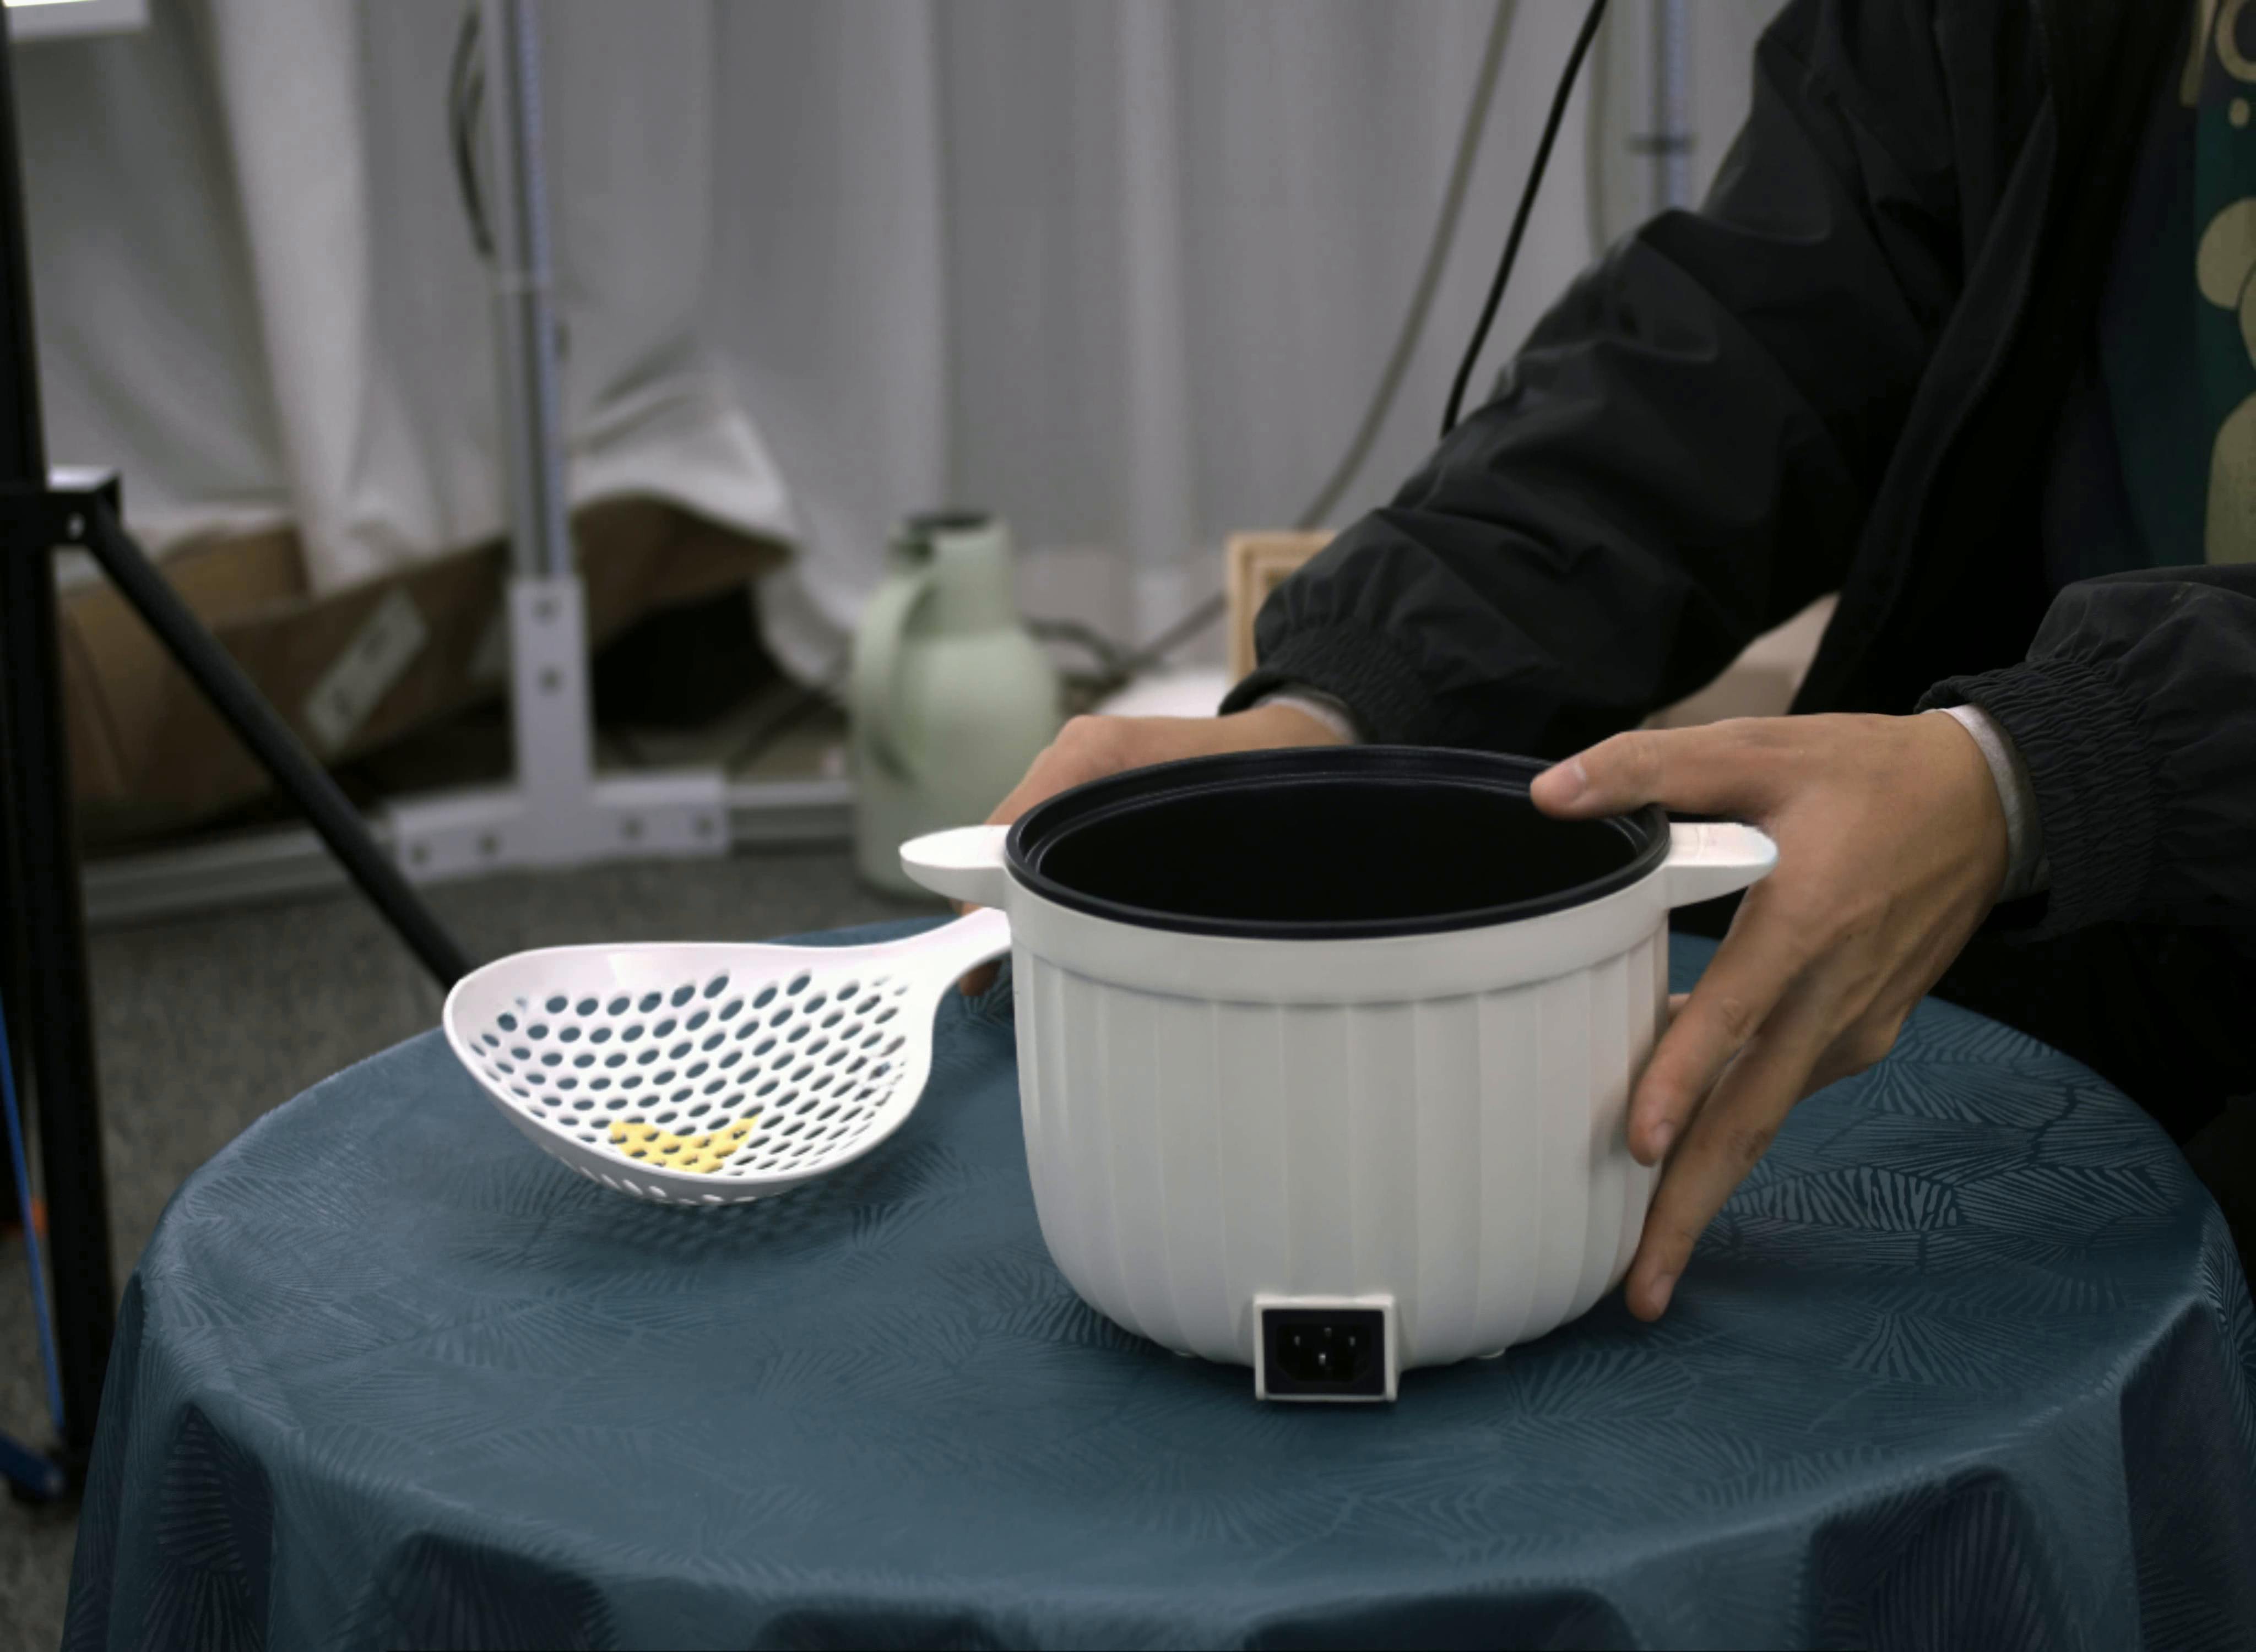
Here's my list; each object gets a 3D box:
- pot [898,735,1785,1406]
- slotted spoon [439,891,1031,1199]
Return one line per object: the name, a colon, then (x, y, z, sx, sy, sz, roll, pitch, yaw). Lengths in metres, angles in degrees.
pot: (0.058, 0.063, 1.455, 0.241, 0.142, 0.190, 1, 19, 7)
slotted spoon: (-0.077, 0.054, 1.667, 0.139, 0.050, 0.341, 26, 29, 27)
